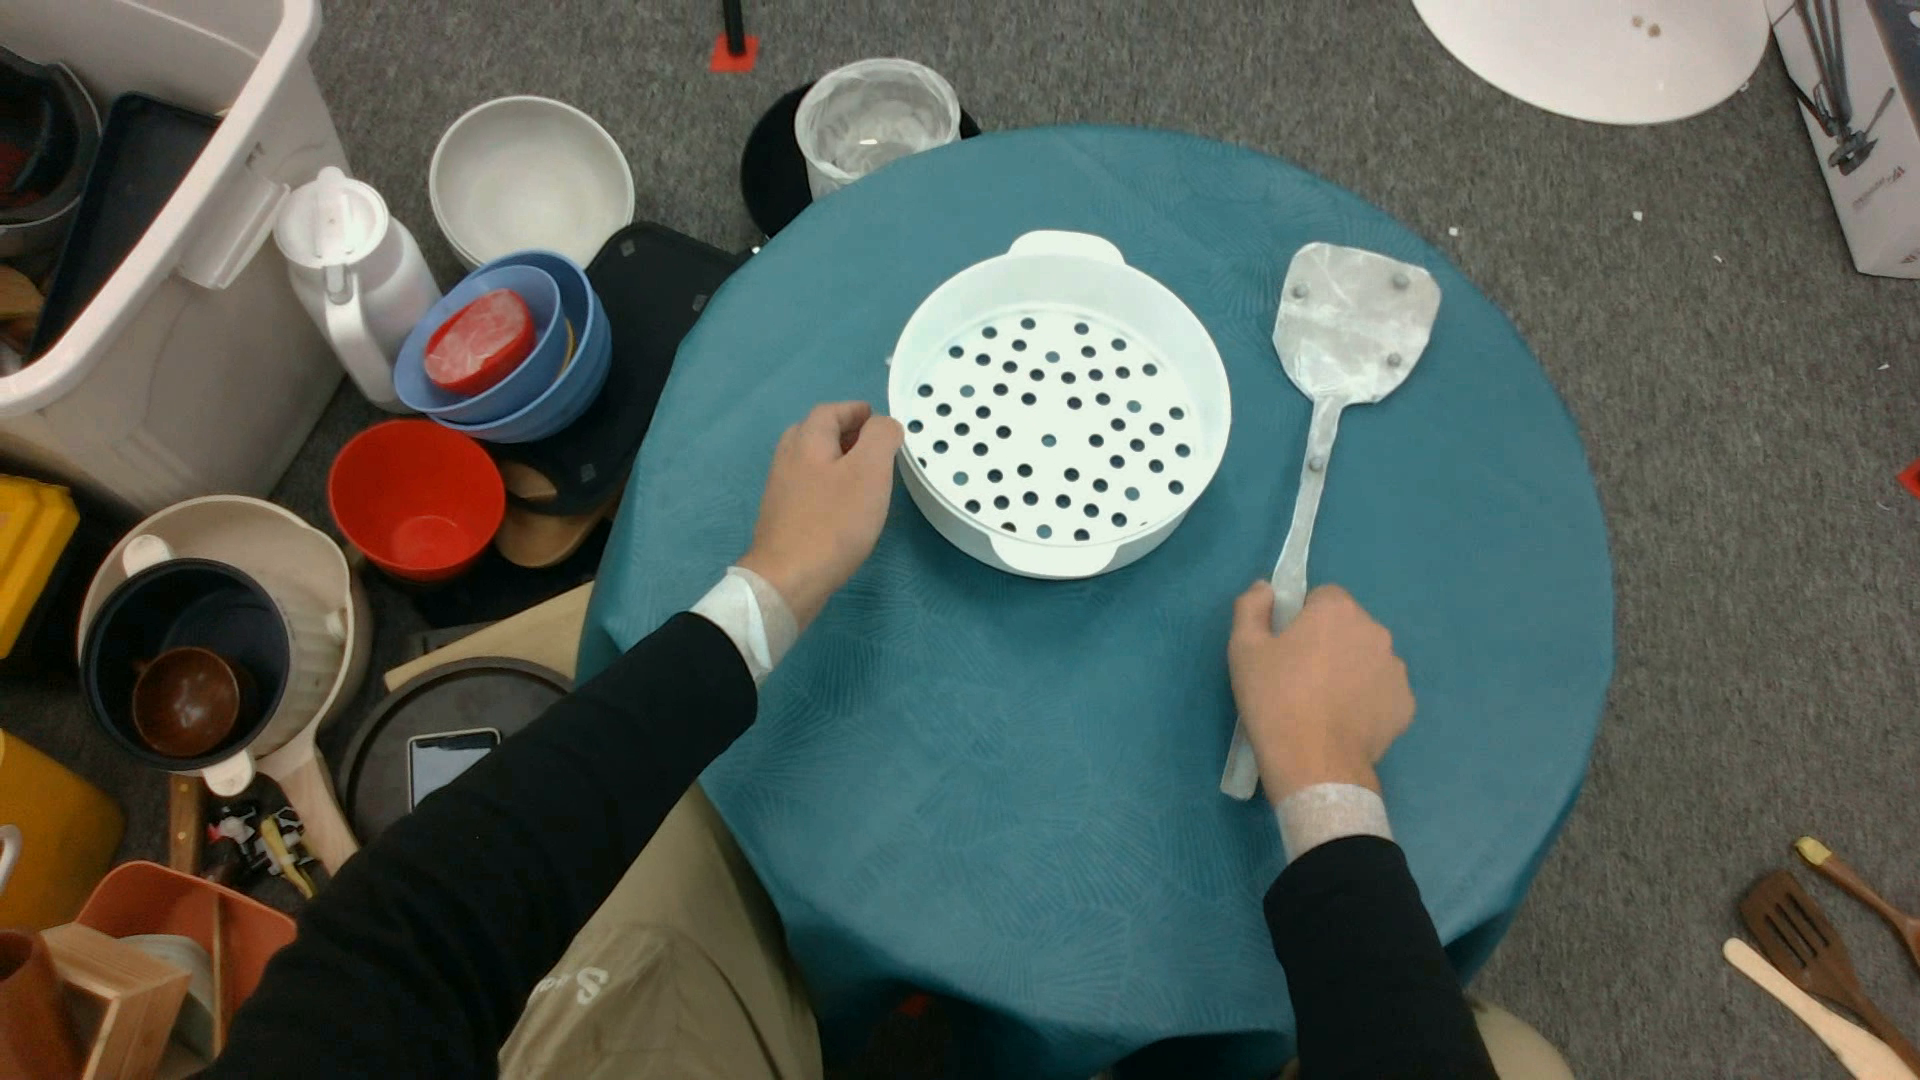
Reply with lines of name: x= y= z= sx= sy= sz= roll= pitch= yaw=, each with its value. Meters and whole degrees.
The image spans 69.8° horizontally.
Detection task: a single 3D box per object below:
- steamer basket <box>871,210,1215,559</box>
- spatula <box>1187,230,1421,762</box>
steamer basket: x=0.048 y=-0.086 z=0.829 sx=0.202 sy=0.069 sz=0.231 roll=6 pitch=67 yaw=-1
spatula: x=0.198 y=-0.034 z=0.830 sx=0.099 sy=0.044 sz=0.366 roll=20 pitch=63 yaw=2
